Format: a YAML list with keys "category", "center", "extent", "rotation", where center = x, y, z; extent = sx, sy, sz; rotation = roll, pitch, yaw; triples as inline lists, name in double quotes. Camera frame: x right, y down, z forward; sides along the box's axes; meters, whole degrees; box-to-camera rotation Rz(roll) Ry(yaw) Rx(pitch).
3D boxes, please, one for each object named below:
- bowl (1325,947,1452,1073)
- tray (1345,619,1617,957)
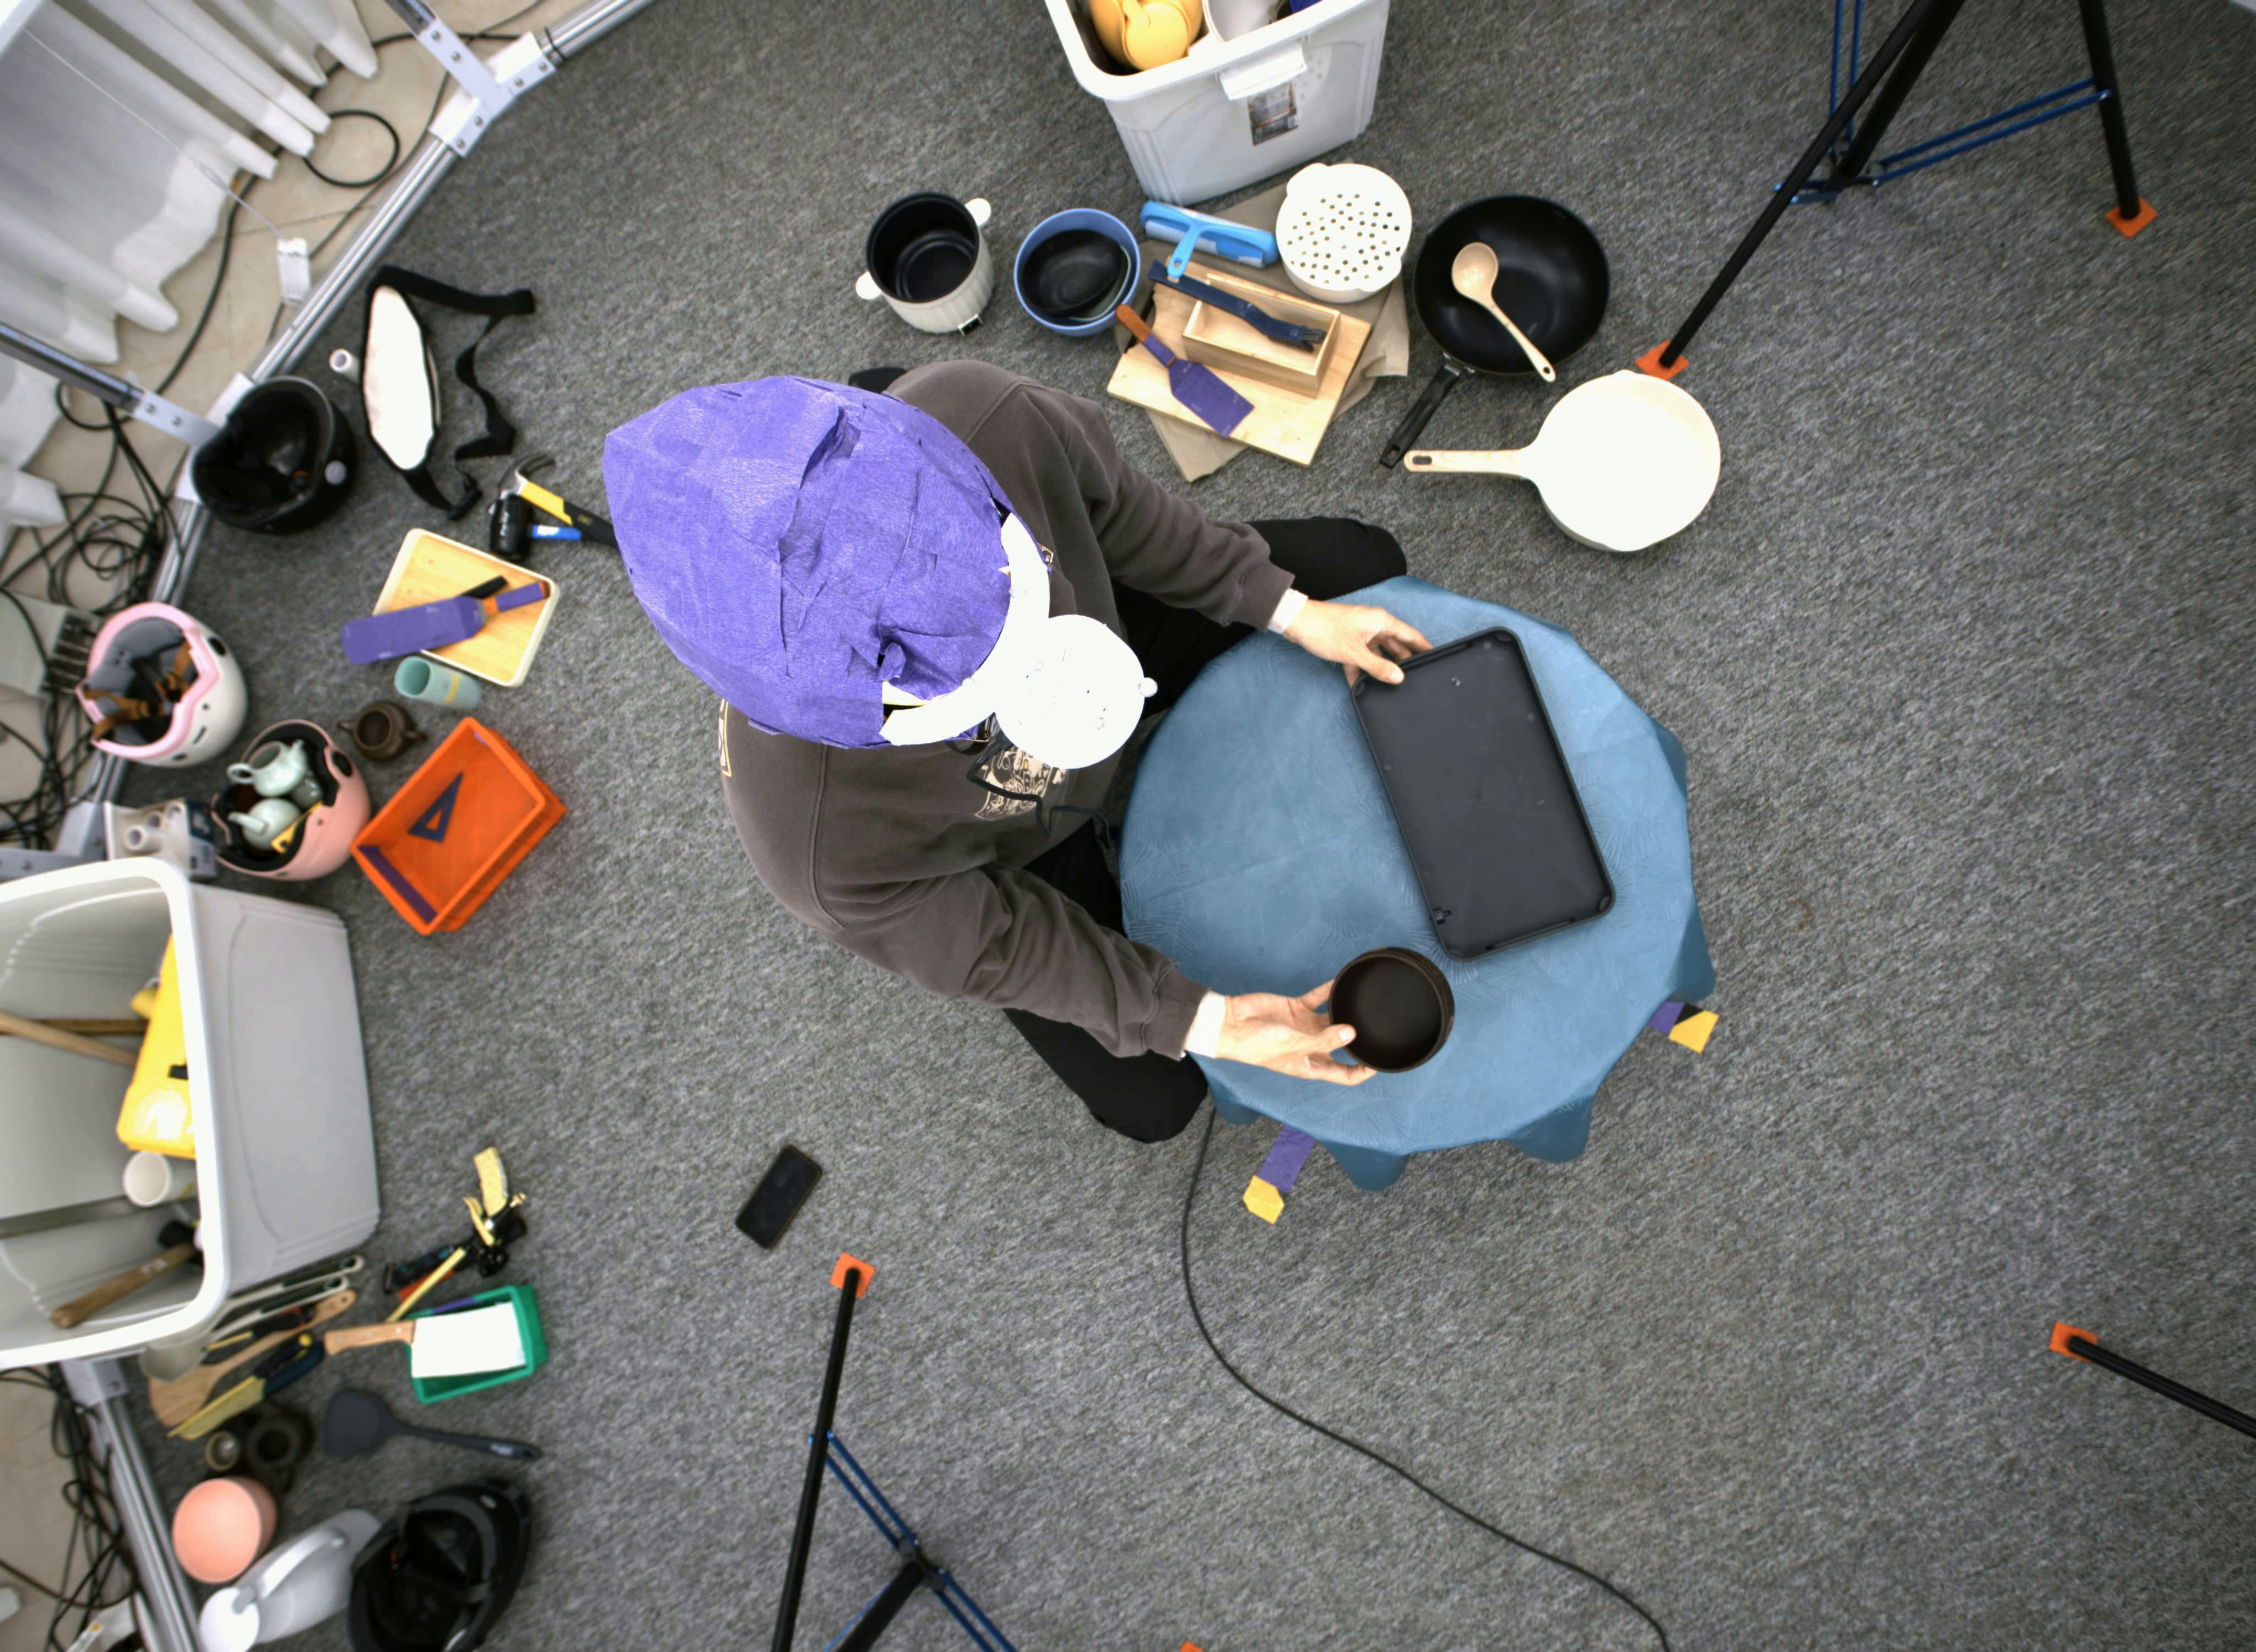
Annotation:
- category: "bowl"
  center: [0.255, 0.171, 1.327]
  extent: [0.118, 0.069, 0.119]
  rotation: [6, 103, 30]
- category: "tray"
  center: [0.362, -0.041, 1.421]
  extent: [0.185, 0.037, 0.317]
  rotation: [-22, 87, 10]
